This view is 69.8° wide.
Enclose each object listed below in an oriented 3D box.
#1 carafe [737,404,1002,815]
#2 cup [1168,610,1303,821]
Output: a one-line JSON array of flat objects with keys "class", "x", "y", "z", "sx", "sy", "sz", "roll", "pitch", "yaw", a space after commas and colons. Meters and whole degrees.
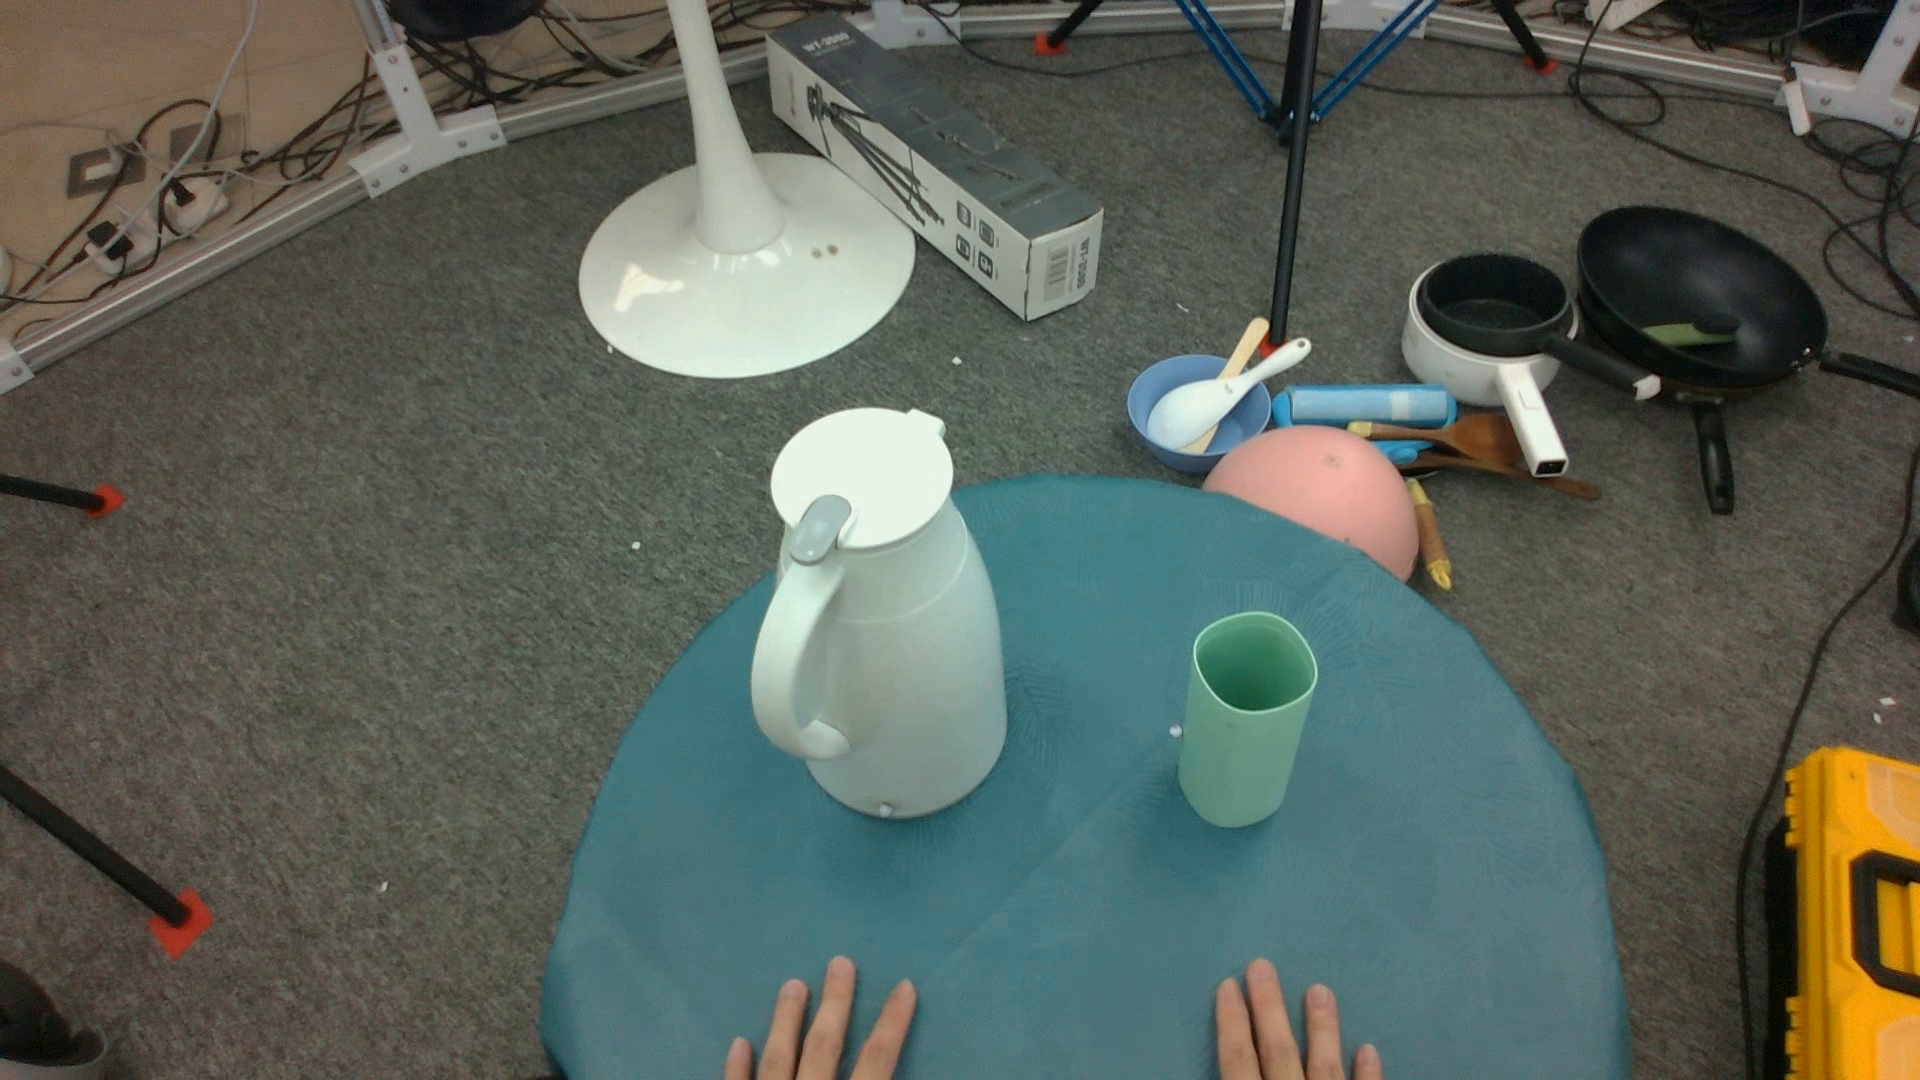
[{"class": "carafe", "x": -0.057, "y": 0.052, "z": 0.765, "sx": 0.132, "sy": 0.247, "sz": 0.168, "roll": 23, "pitch": 57, "yaw": 21}, {"class": "cup", "x": 0.156, "y": 0.104, "z": 0.789, "sx": 0.067, "sy": 0.132, "sz": 0.067, "roll": -2, "pitch": 51, "yaw": 2}]
